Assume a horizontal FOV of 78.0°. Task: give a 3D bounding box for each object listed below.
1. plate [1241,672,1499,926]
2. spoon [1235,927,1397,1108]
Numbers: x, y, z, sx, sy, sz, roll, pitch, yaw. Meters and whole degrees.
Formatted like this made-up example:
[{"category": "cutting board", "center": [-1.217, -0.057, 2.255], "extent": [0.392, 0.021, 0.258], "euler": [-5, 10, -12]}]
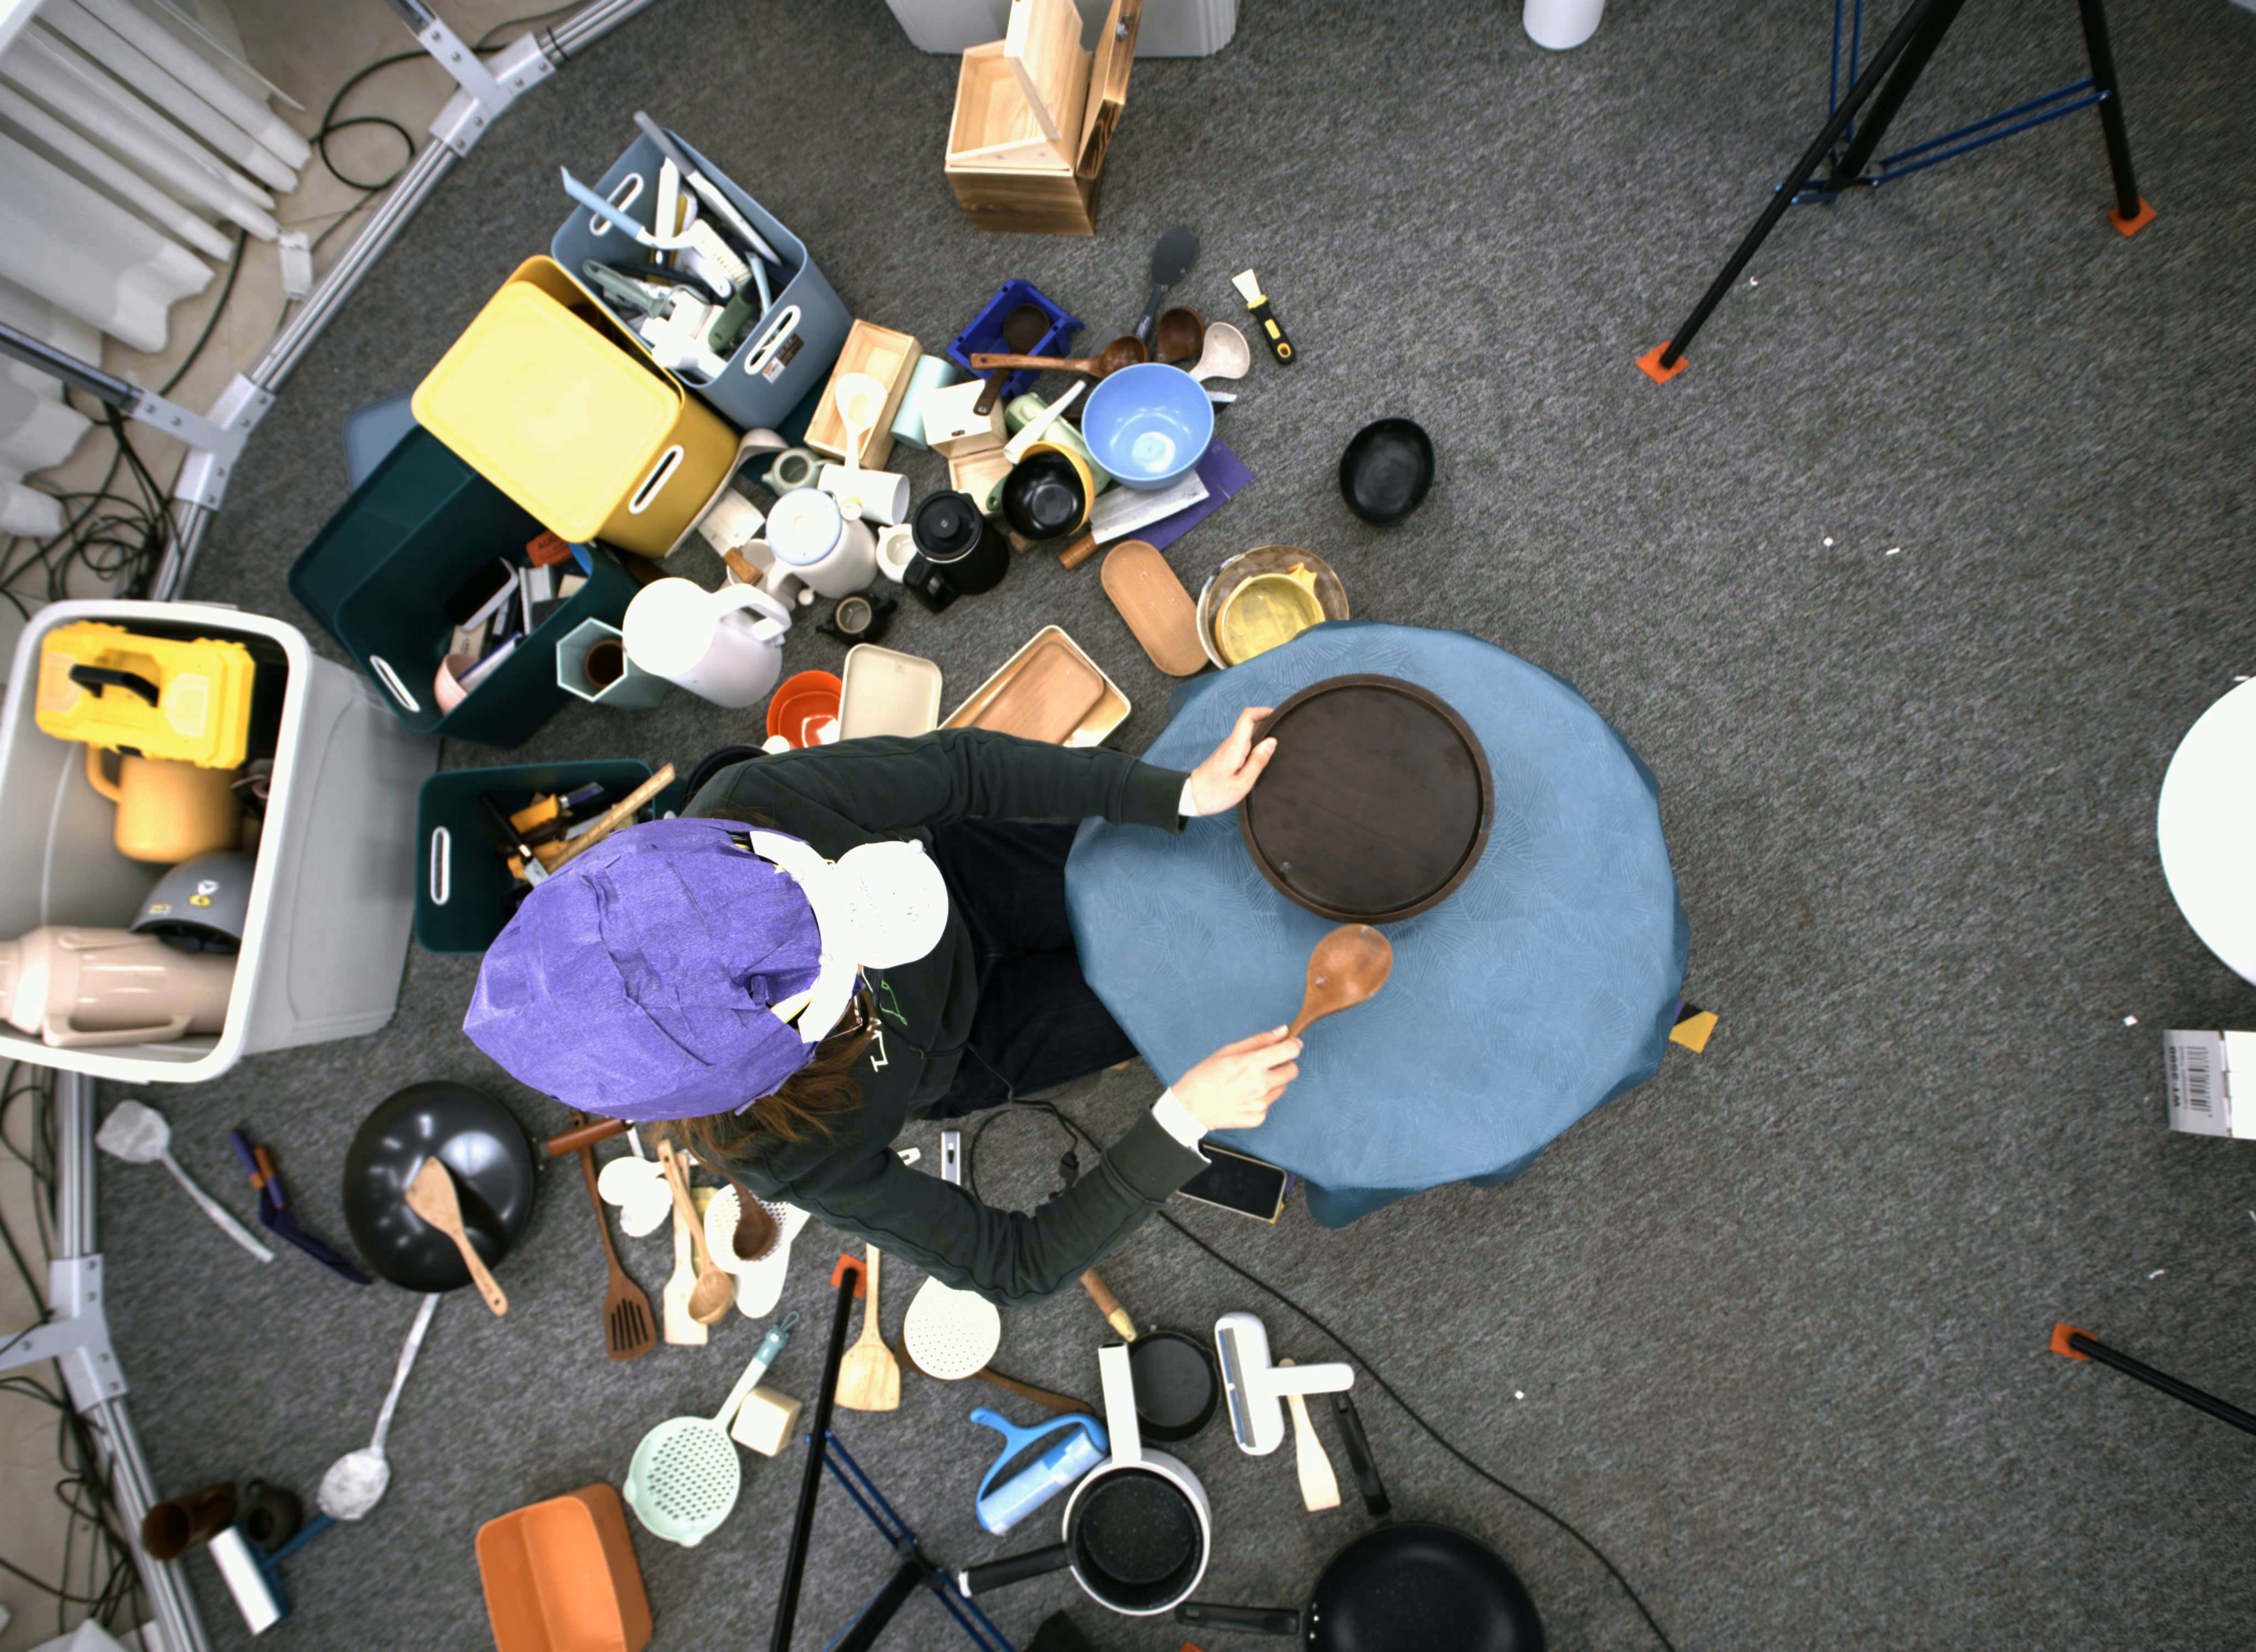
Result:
[{"category": "plate", "center": [0.238, -0.027, 1.368], "extent": [0.256, 0.028, 0.257], "euler": [3, 104, 12]}, {"category": "spoon", "center": [0.175, 0.182, 1.315], "extent": [0.075, 0.017, 0.213], "euler": [37, 75, 22]}]
